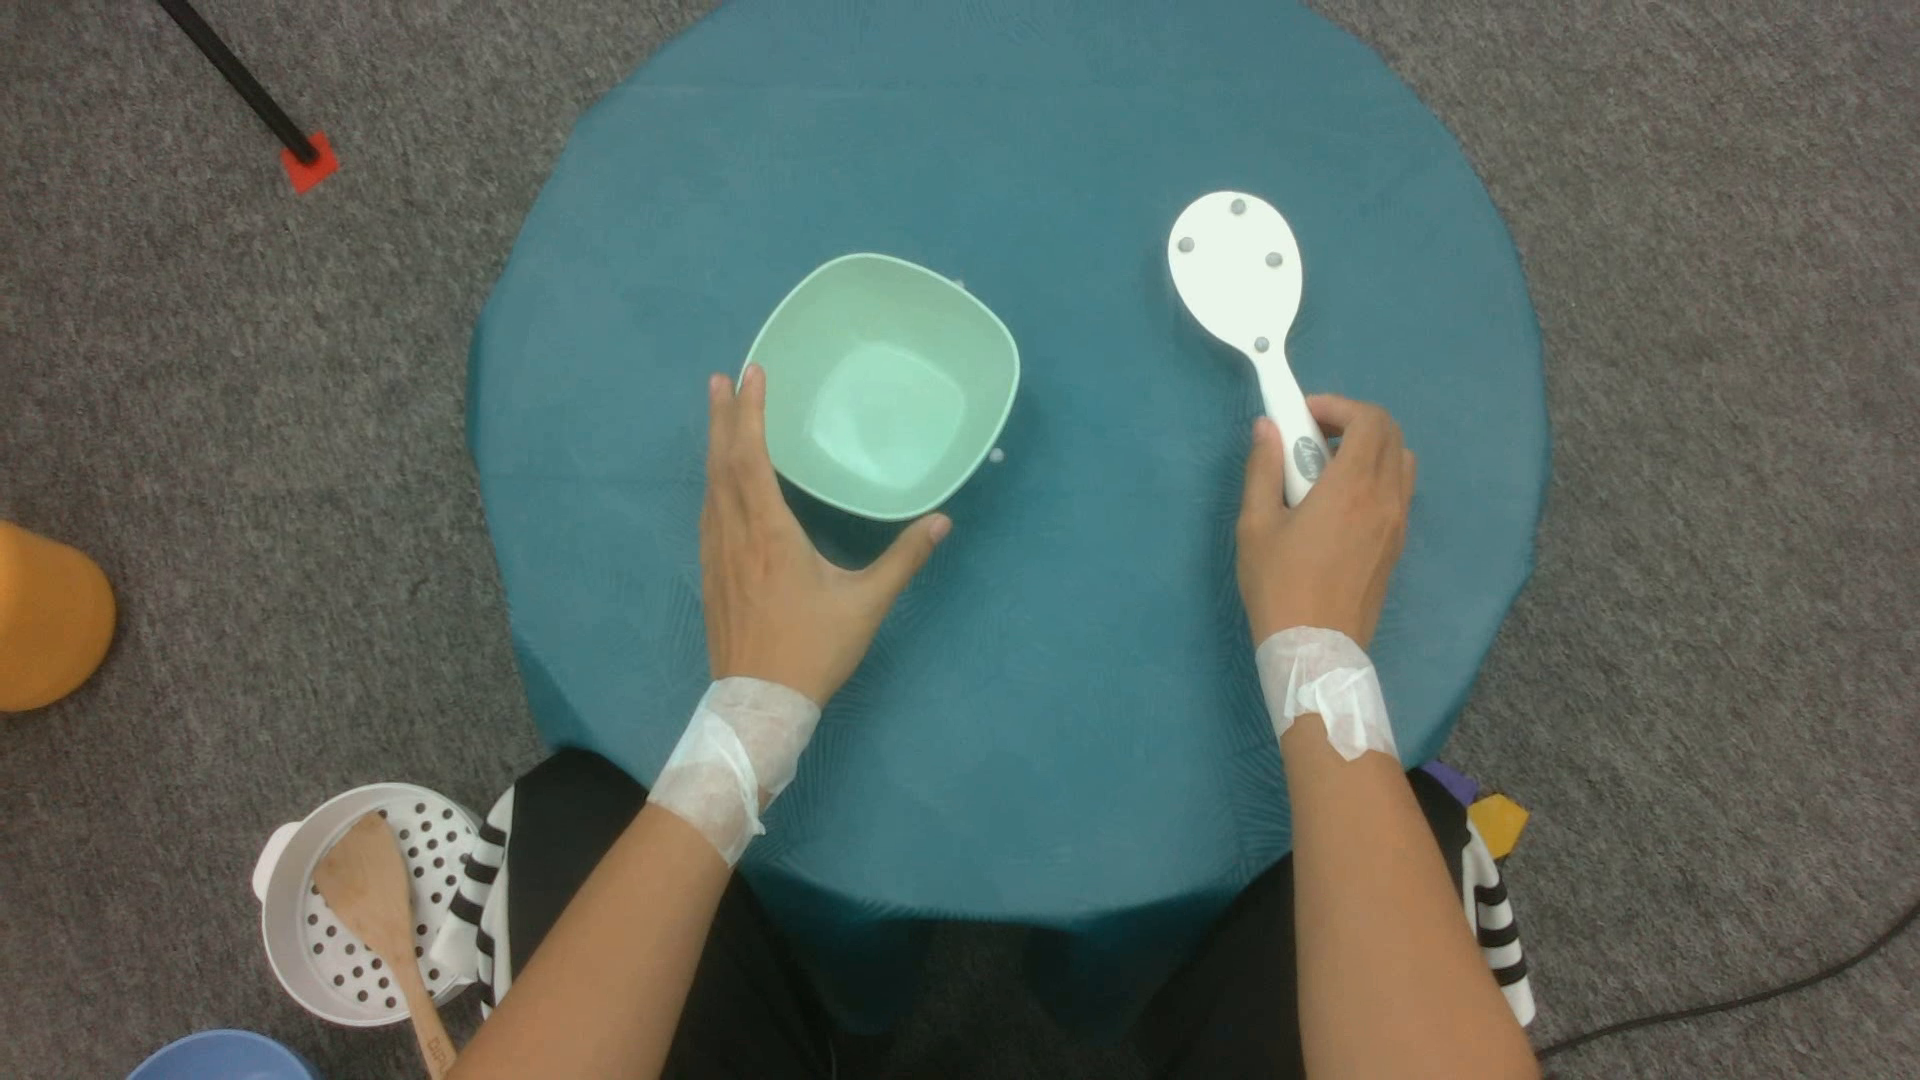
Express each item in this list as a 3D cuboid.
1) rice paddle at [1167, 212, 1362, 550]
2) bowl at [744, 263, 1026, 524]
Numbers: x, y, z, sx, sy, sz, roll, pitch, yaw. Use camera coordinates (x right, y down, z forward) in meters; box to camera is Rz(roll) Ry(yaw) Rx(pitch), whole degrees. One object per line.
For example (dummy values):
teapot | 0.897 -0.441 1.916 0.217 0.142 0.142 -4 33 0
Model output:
rice paddle | 0.168 -0.094 0.754 0.069 0.029 0.205 -17 72 0
bowl | -0.040 -0.072 0.756 0.151 0.058 0.152 0 72 -1
